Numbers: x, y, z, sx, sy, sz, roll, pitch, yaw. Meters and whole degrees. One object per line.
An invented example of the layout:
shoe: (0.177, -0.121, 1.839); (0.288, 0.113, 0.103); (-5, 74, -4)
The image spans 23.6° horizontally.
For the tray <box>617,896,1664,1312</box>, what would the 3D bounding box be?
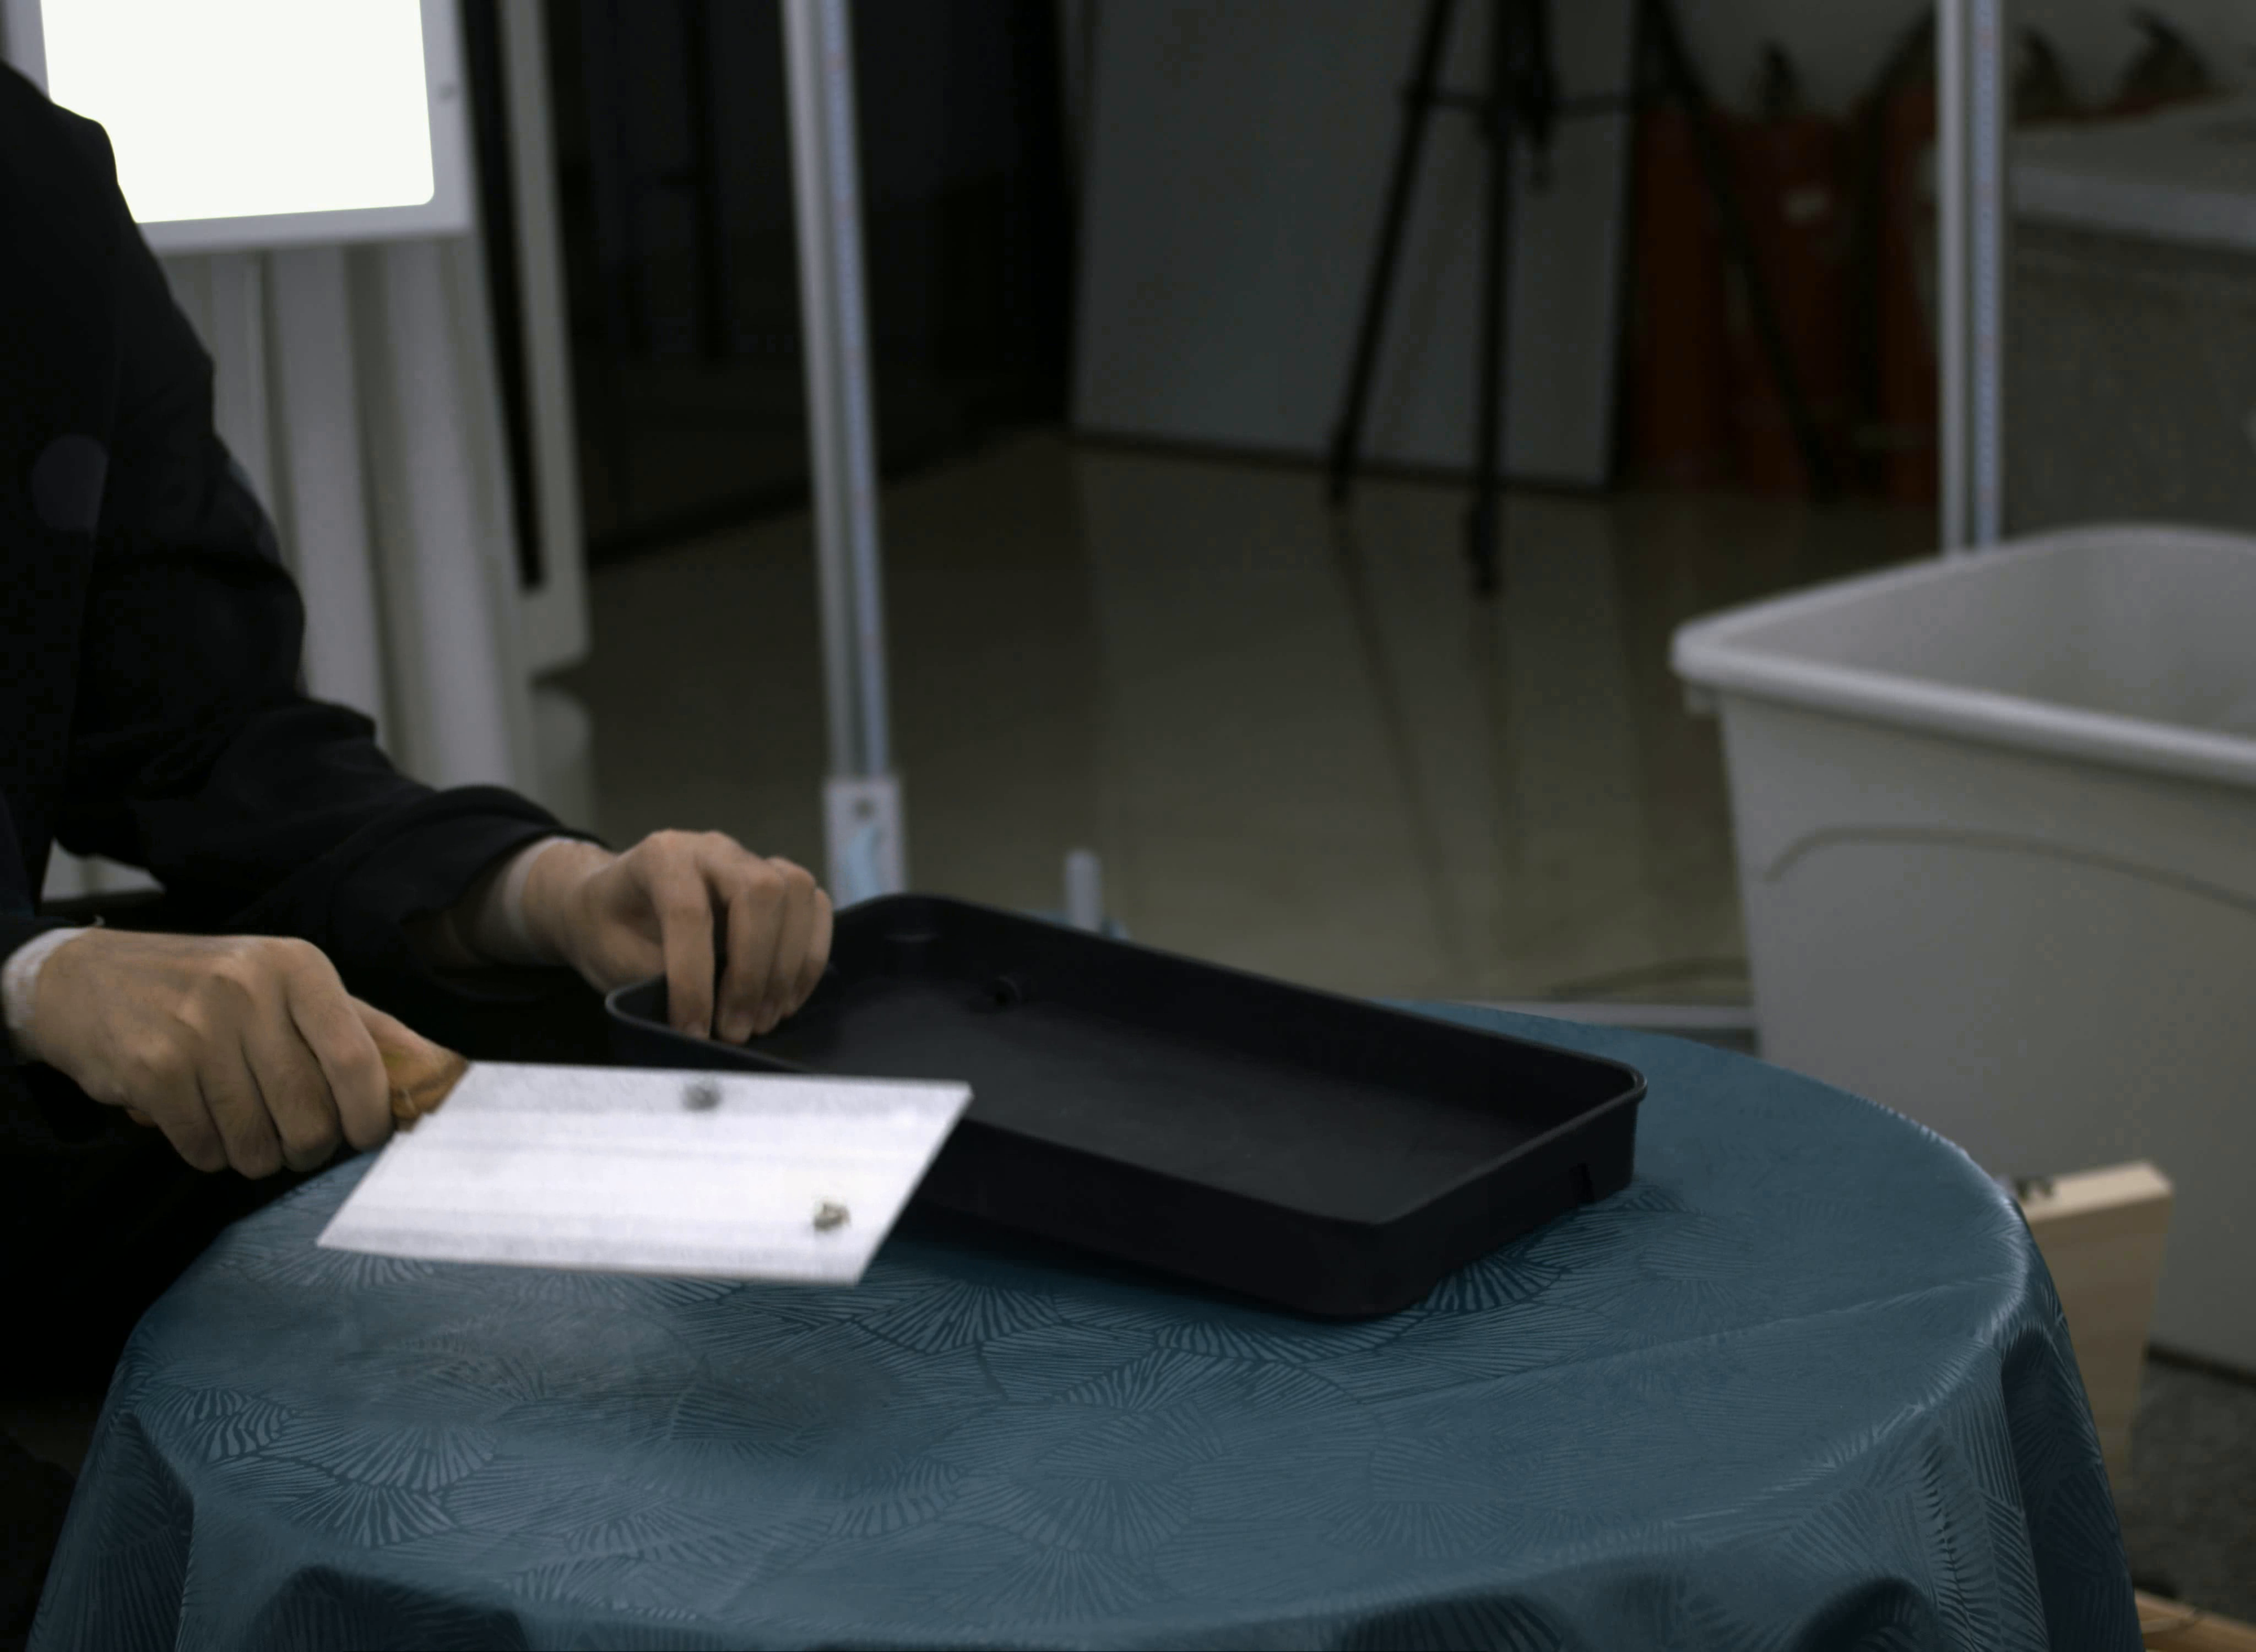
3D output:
tray: (0.002, 0.087, 1.768); (0.320, 0.037, 0.181); (12, 19, 33)

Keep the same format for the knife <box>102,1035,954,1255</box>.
knife: (-0.197, 0.099, 1.649); (0.306, 0.021, 0.092); (-1, 37, 28)
